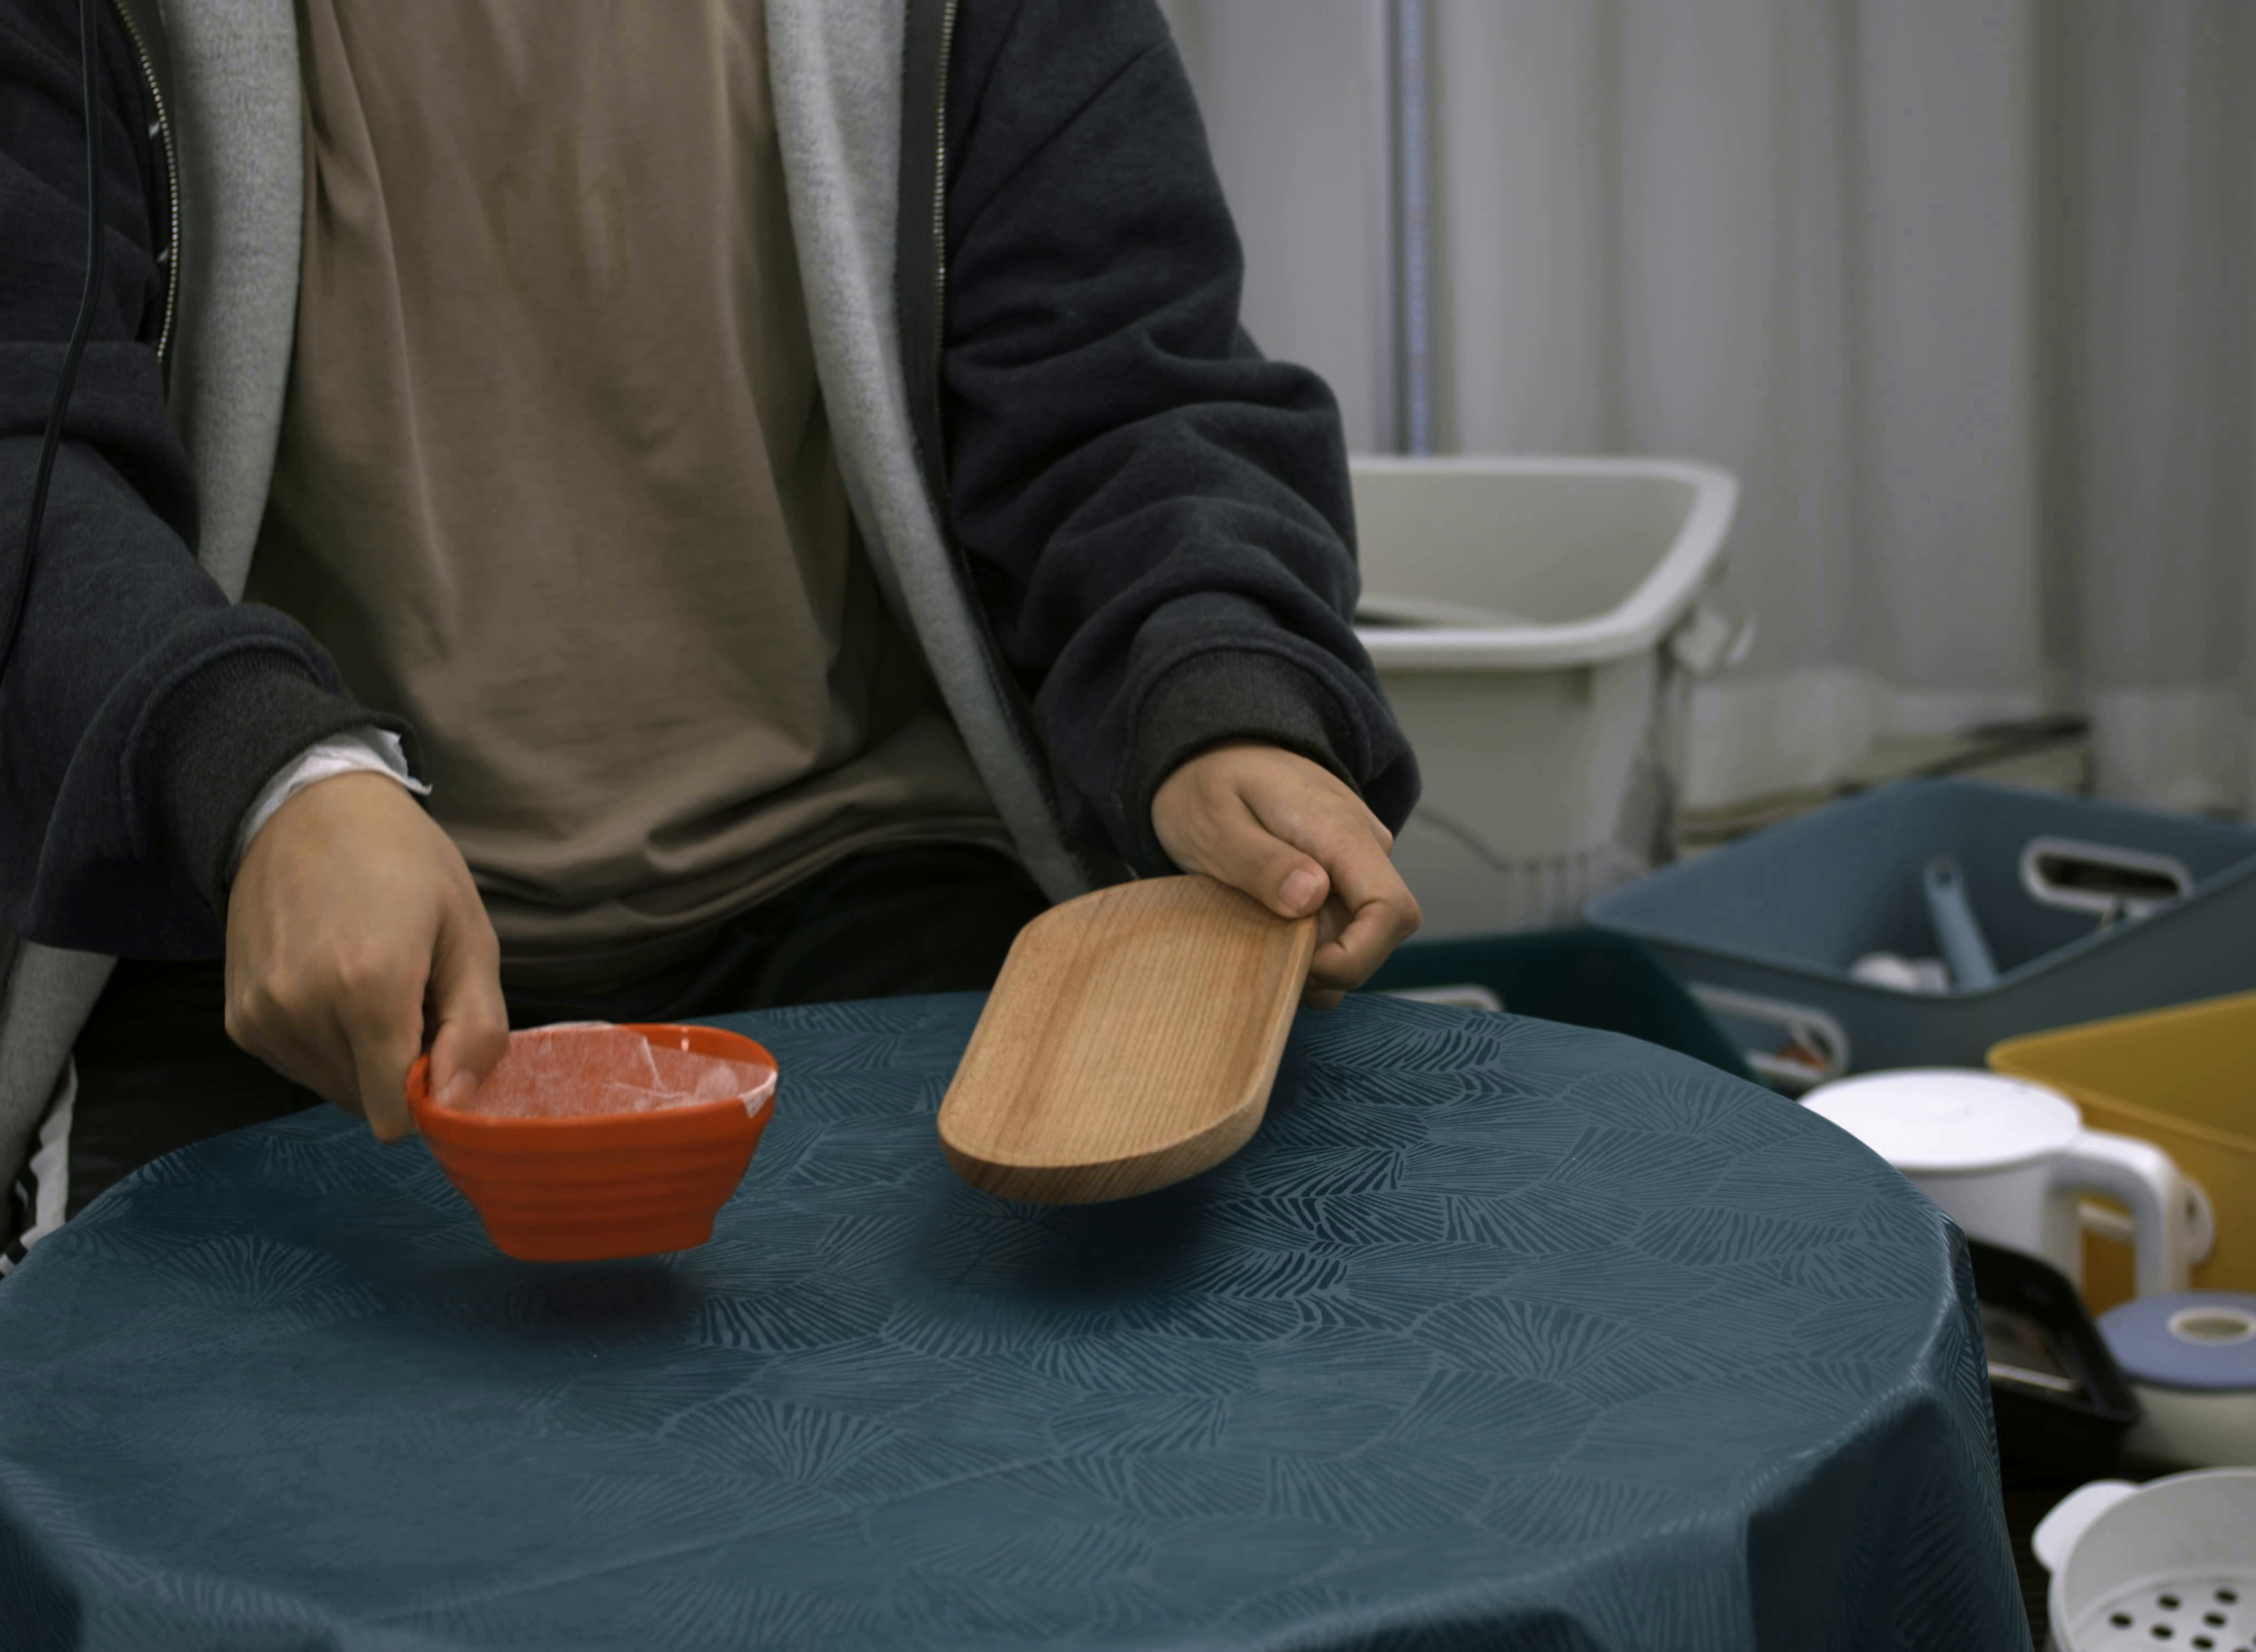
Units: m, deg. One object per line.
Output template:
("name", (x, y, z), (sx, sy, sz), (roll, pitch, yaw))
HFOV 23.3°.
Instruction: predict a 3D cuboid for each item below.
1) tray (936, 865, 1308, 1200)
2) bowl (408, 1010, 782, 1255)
("tray", (0.001, 0.062, 1.712), (0.101, 0.020, 0.233), (-5, 19, 10))
("bowl", (-0.159, 0.094, 1.639), (0.118, 0.051, 0.119), (-2, 13, 0))
